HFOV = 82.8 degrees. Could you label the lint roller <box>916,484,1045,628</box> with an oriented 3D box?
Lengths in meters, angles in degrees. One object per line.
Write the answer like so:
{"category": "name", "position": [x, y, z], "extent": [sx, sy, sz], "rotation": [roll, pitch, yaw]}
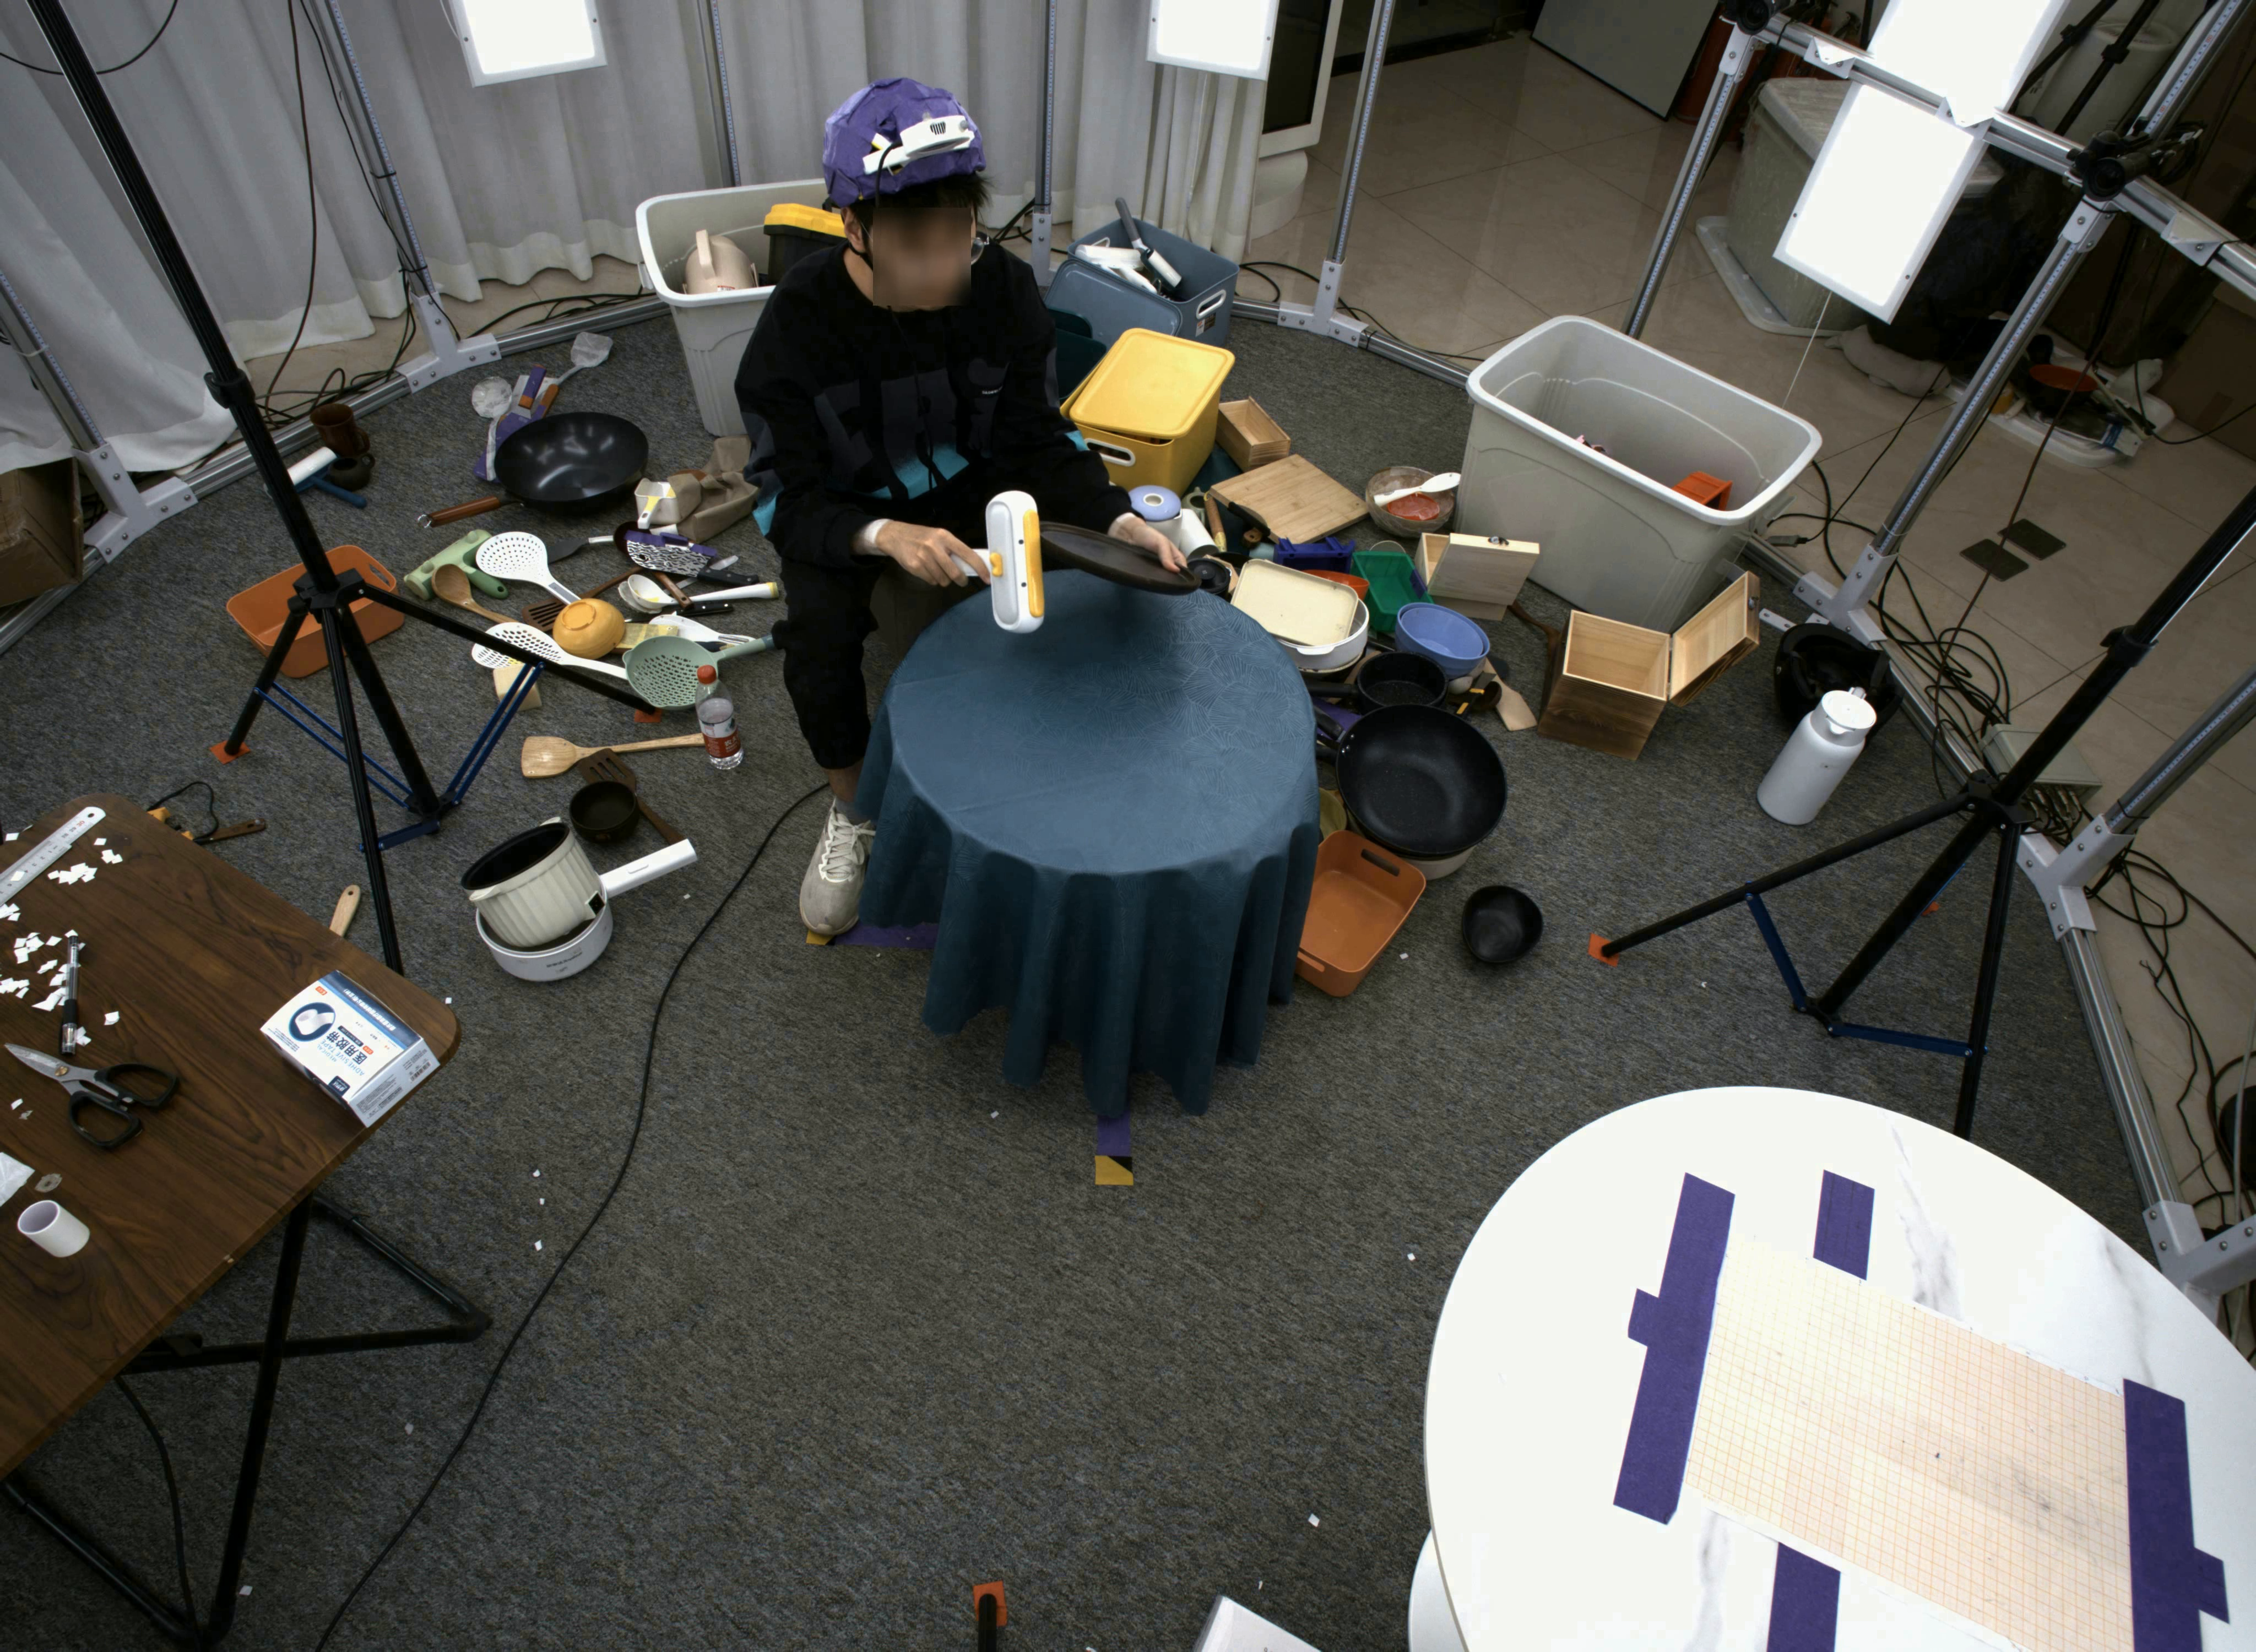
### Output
{"category": "lint roller", "position": [-0.207, -0.369, 1.791], "extent": [0.193, 0.190, 0.075], "rotation": [4, 21, 35]}

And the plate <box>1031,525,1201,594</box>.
{"category": "plate", "position": [-0.019, -0.378, 1.820], "extent": [0.254, 0.028, 0.258], "rotation": [15, 19, -5]}
